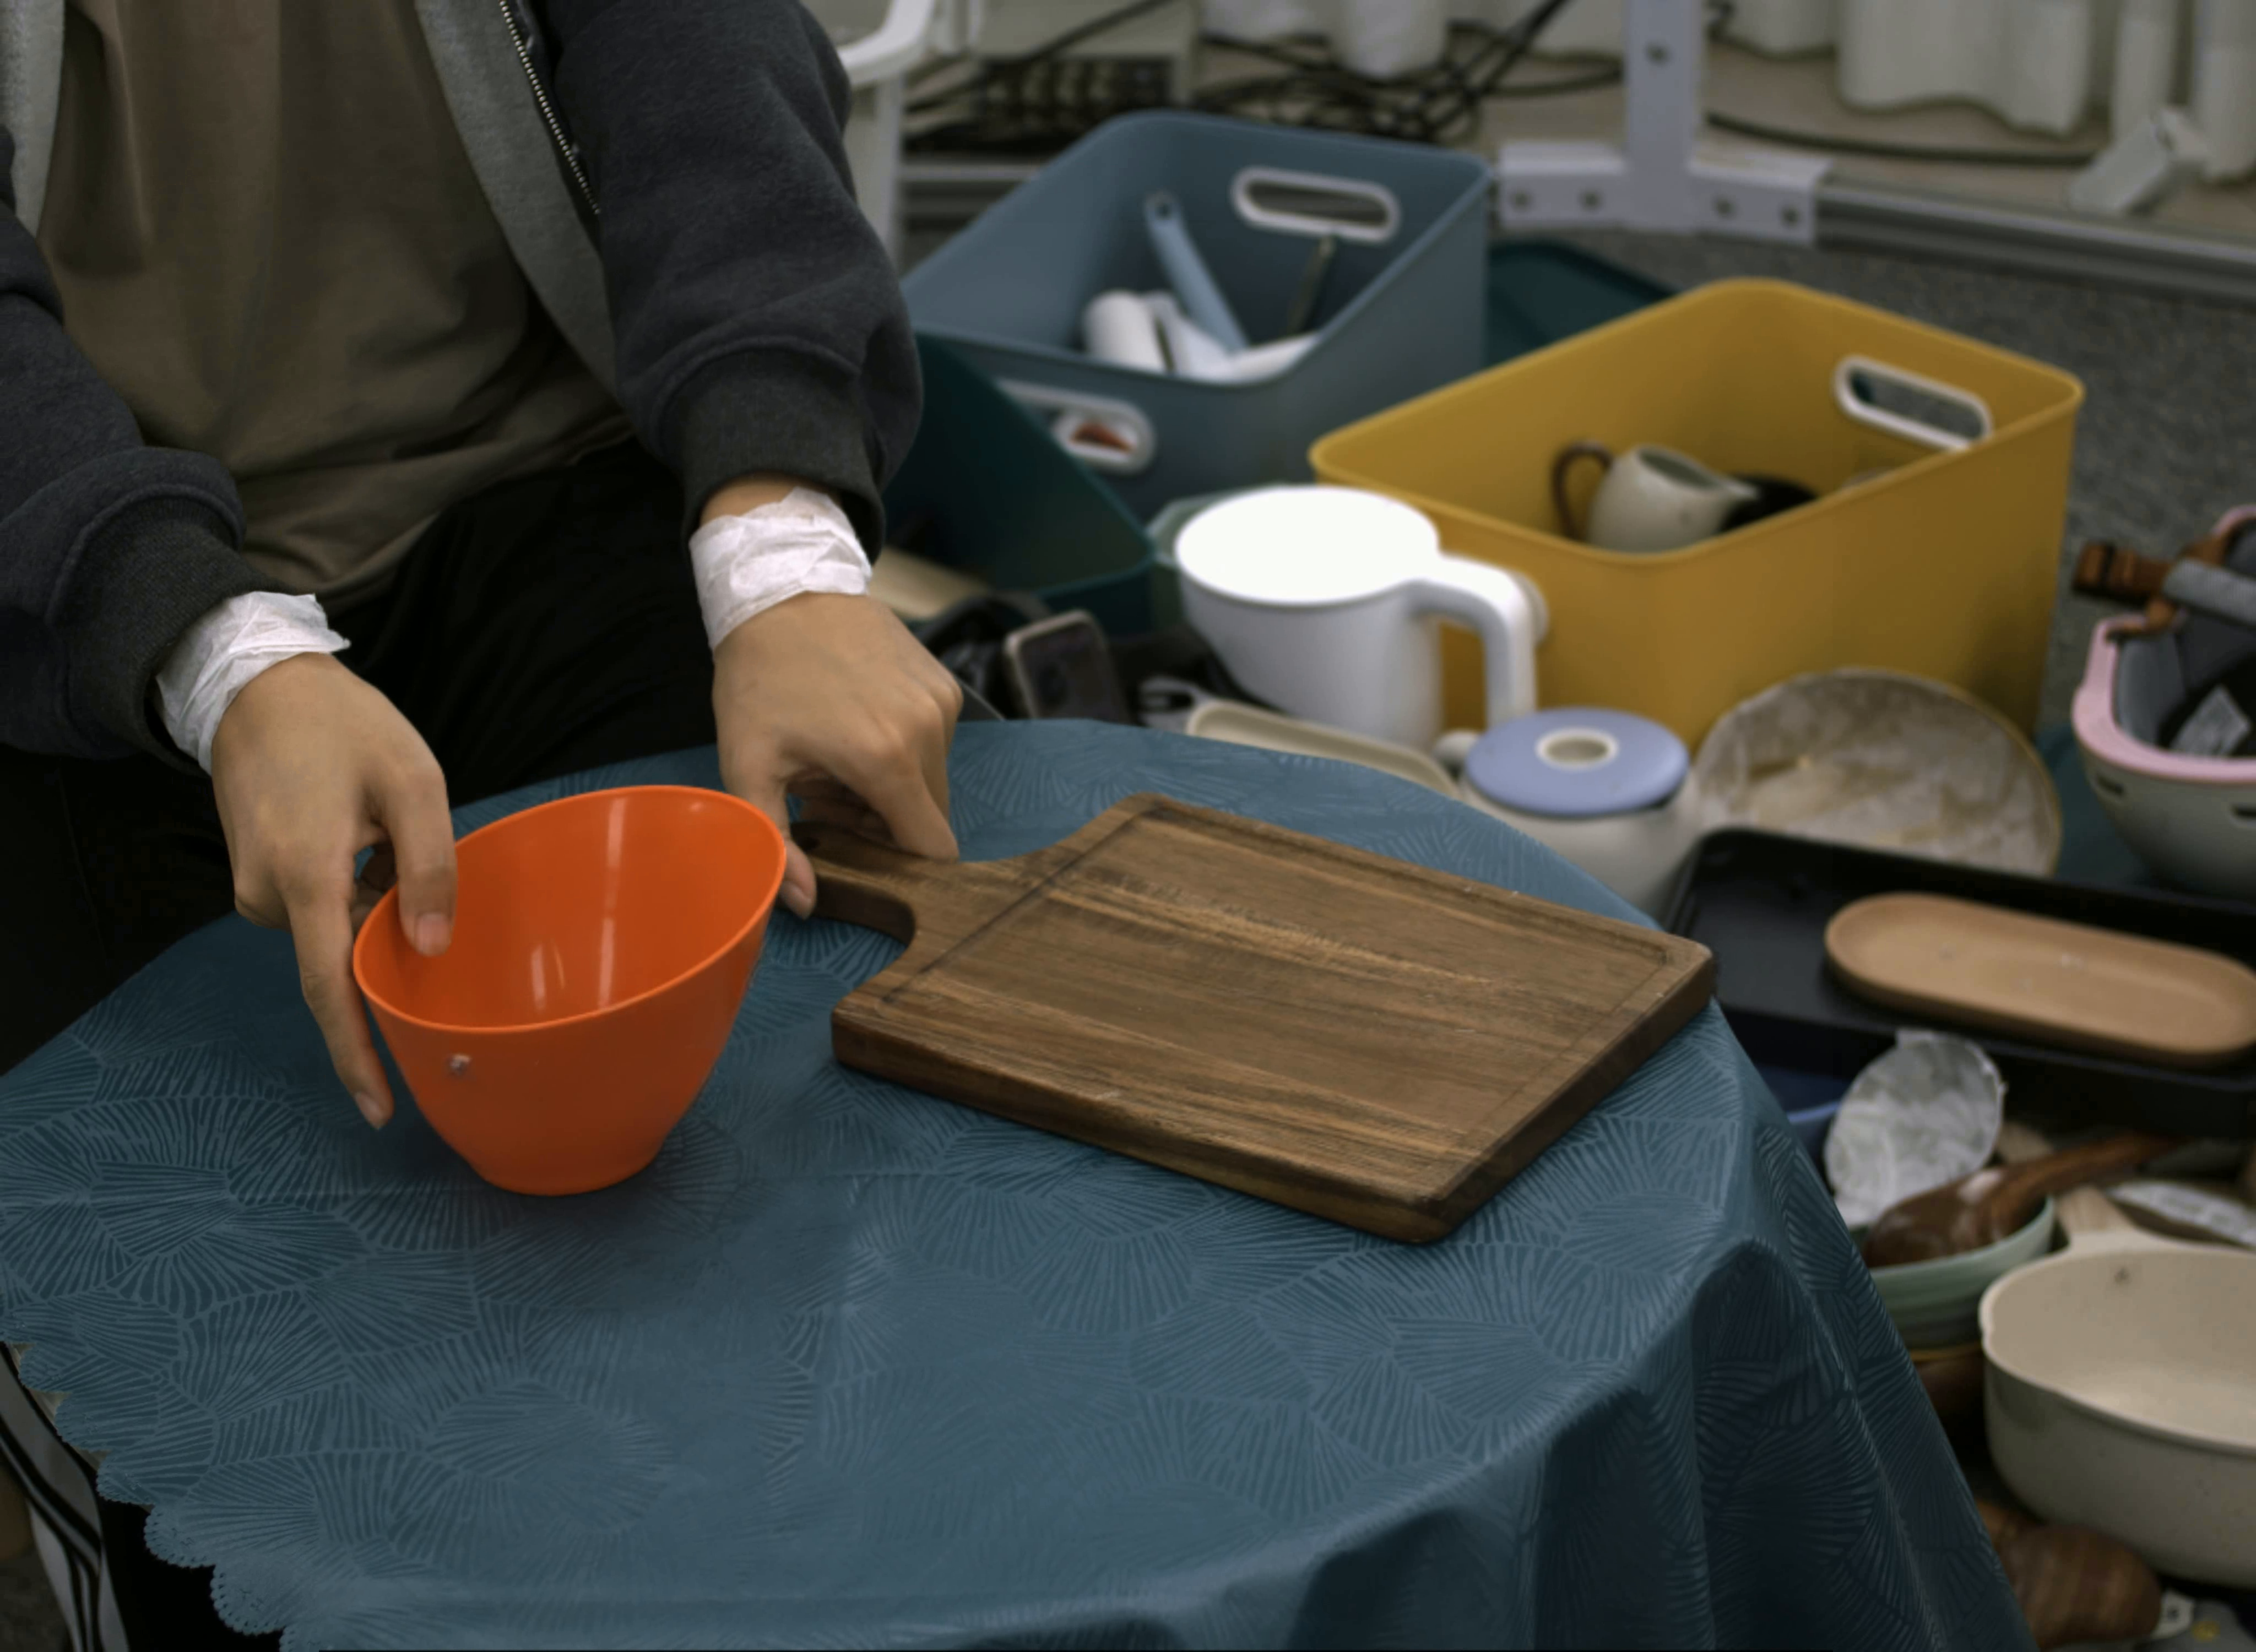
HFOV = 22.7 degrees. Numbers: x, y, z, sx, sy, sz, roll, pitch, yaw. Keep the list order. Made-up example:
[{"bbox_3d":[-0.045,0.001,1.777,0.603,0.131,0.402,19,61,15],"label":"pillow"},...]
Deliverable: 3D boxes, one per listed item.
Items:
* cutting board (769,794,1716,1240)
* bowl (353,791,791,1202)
[{"bbox_3d":[0.010,0.050,1.976,0.350,0.023,0.204,15,32,31],"label":"cutting board"},{"bbox_3d":[-0.183,0.064,1.884,0.147,0.103,0.150,-2,27,1],"label":"bowl"}]
